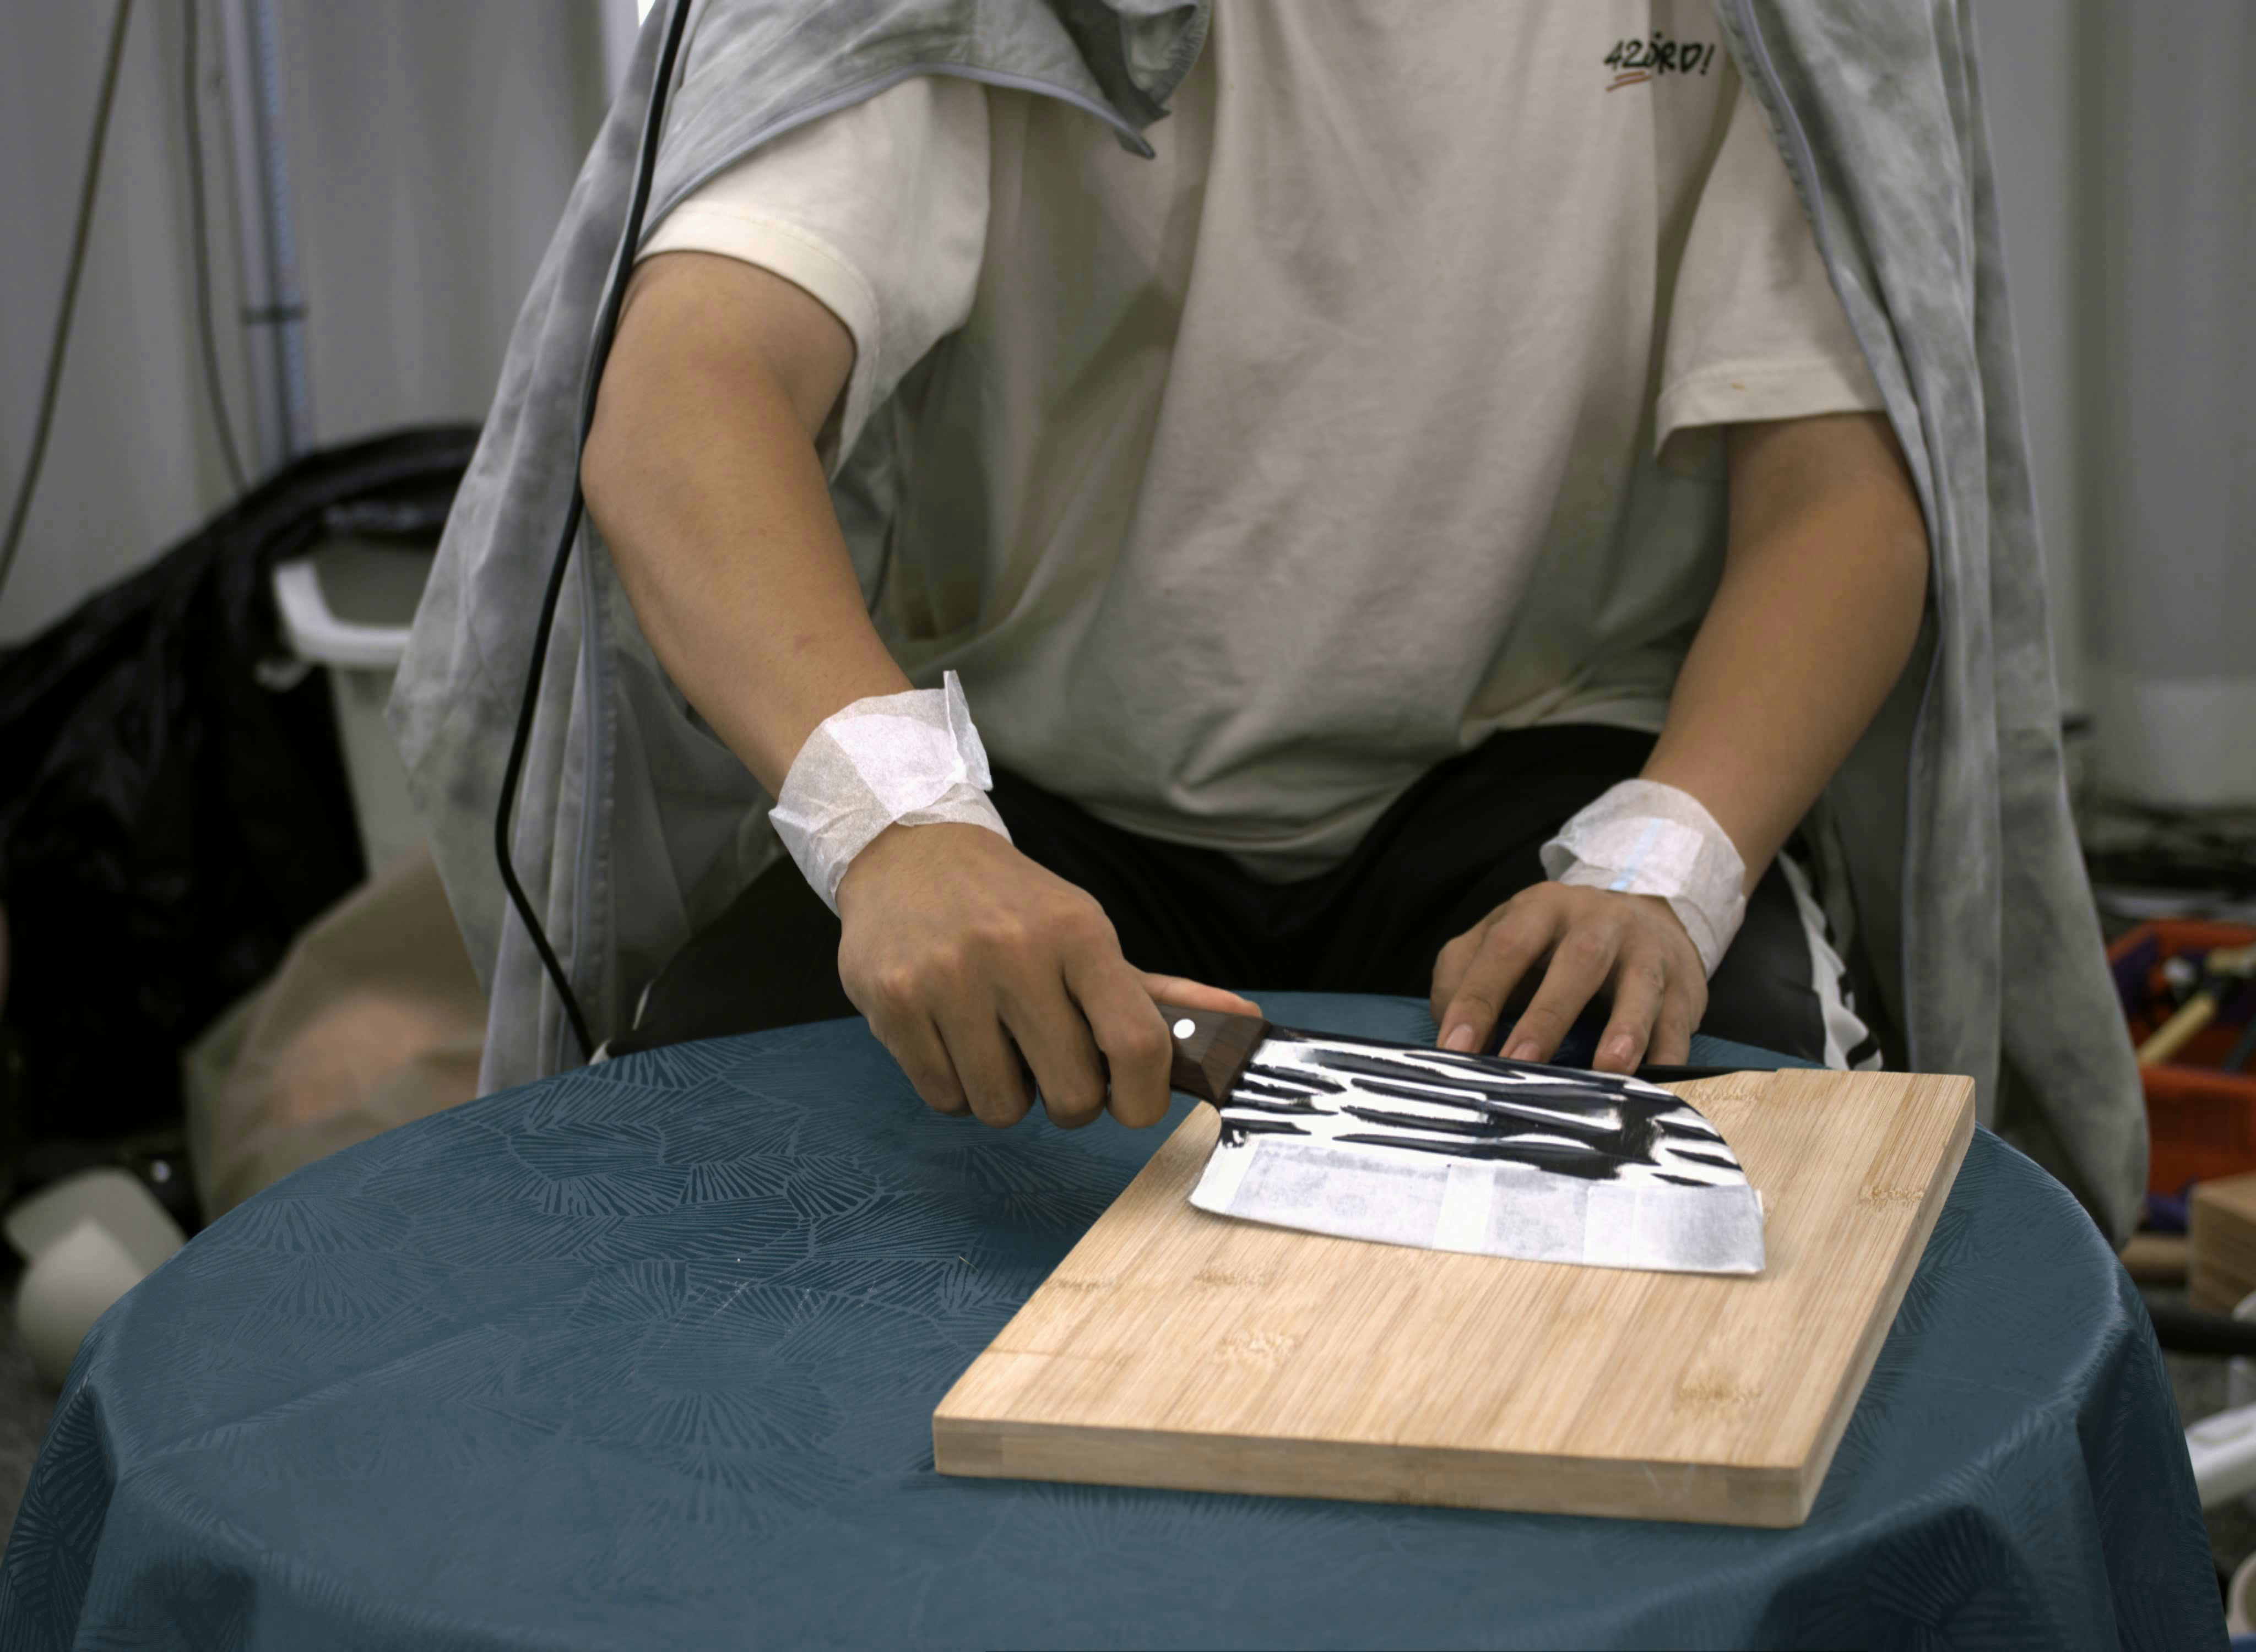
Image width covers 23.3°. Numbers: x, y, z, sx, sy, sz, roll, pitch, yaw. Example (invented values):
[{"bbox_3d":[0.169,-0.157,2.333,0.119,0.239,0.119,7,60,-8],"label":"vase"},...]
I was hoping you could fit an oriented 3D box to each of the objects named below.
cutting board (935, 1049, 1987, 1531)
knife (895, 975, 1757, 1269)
[{"bbox_3d":[0.109,0.128,1.617,0.250,0.023,0.350,2,15,15],"label":"cutting board"},{"bbox_3d":[0.054,0.089,1.640,0.300,0.023,0.069,8,58,27],"label":"knife"}]
